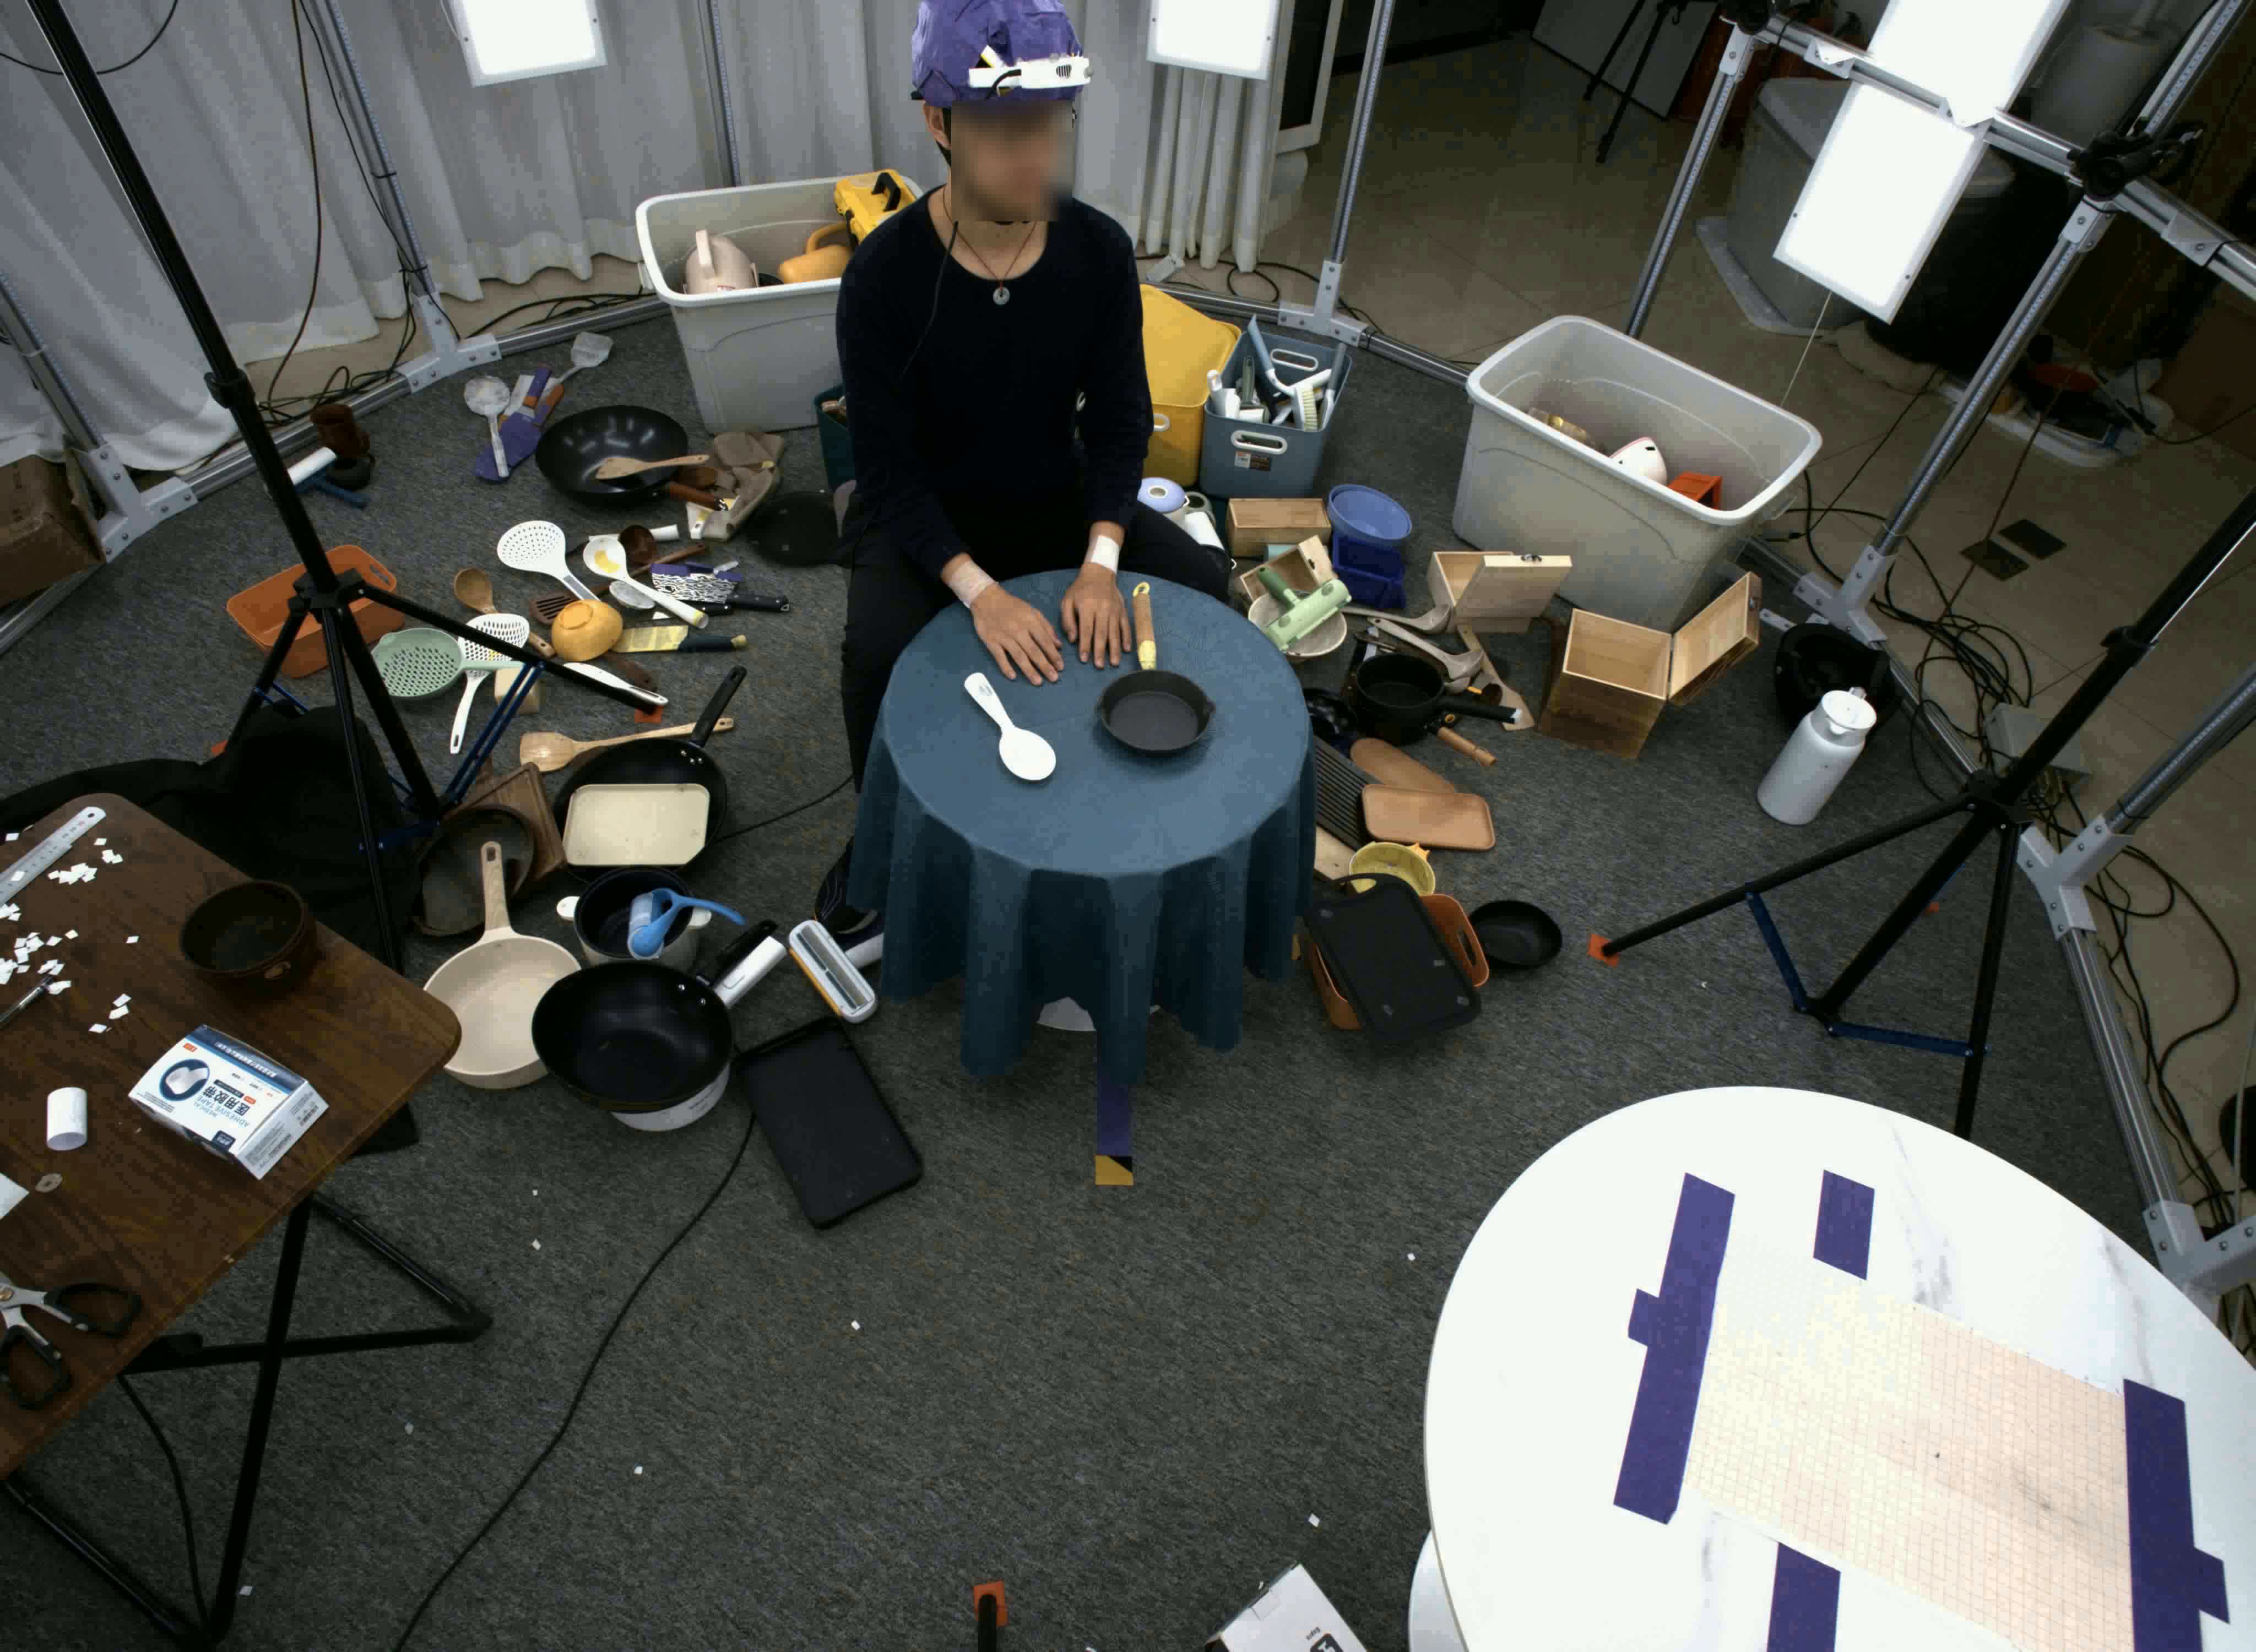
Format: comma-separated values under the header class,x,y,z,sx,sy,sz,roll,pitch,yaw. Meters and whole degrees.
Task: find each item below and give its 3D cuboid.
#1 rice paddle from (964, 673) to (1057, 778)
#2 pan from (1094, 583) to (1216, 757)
class,x,y,z,sx,sy,sz,roll,pitch,yaw
rice paddle,-0.164,-0.137,1.758,0.069,0.029,0.209,-24,54,-20
pan,0.032,-0.224,1.833,0.169,0.048,0.332,-1,51,-4
